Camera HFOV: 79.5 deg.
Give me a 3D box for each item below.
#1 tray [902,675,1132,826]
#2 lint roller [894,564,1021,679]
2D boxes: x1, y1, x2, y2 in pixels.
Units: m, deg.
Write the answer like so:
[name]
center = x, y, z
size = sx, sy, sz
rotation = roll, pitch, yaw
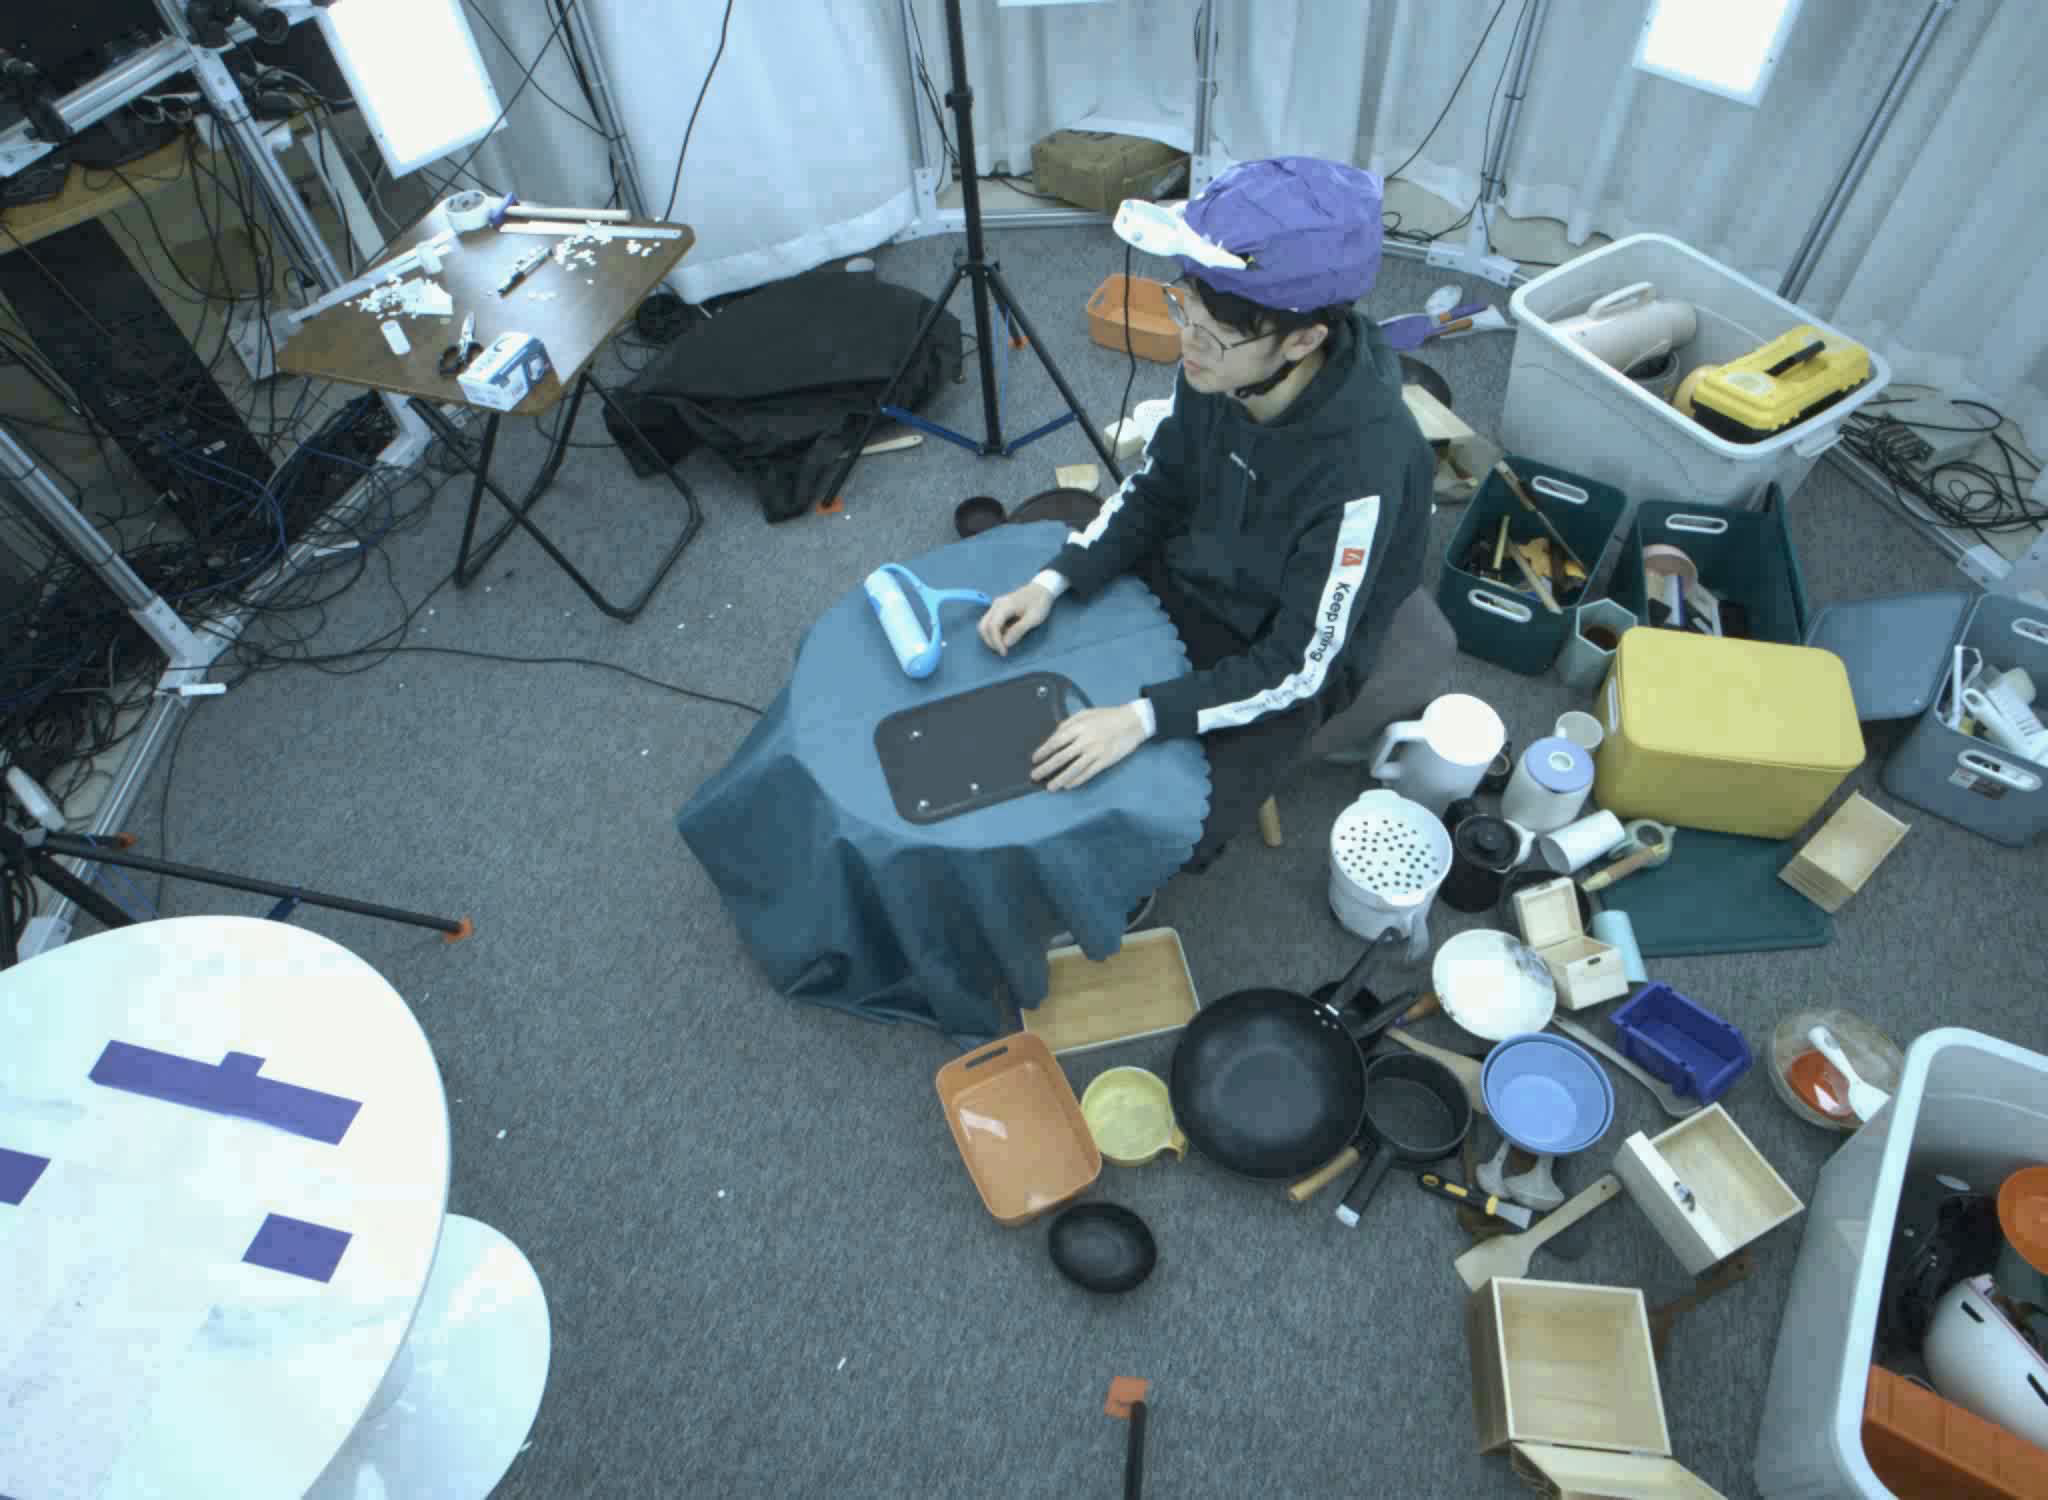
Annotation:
[tray]
center = -0.007, -0.008, 1.785
size = 0.327, 0.010, 0.207
rotation = -15, 56, -9
[lint roller]
center = -0.093, -0.218, 1.906
size = 0.181, 0.069, 0.224
rotation = -22, 55, -11
